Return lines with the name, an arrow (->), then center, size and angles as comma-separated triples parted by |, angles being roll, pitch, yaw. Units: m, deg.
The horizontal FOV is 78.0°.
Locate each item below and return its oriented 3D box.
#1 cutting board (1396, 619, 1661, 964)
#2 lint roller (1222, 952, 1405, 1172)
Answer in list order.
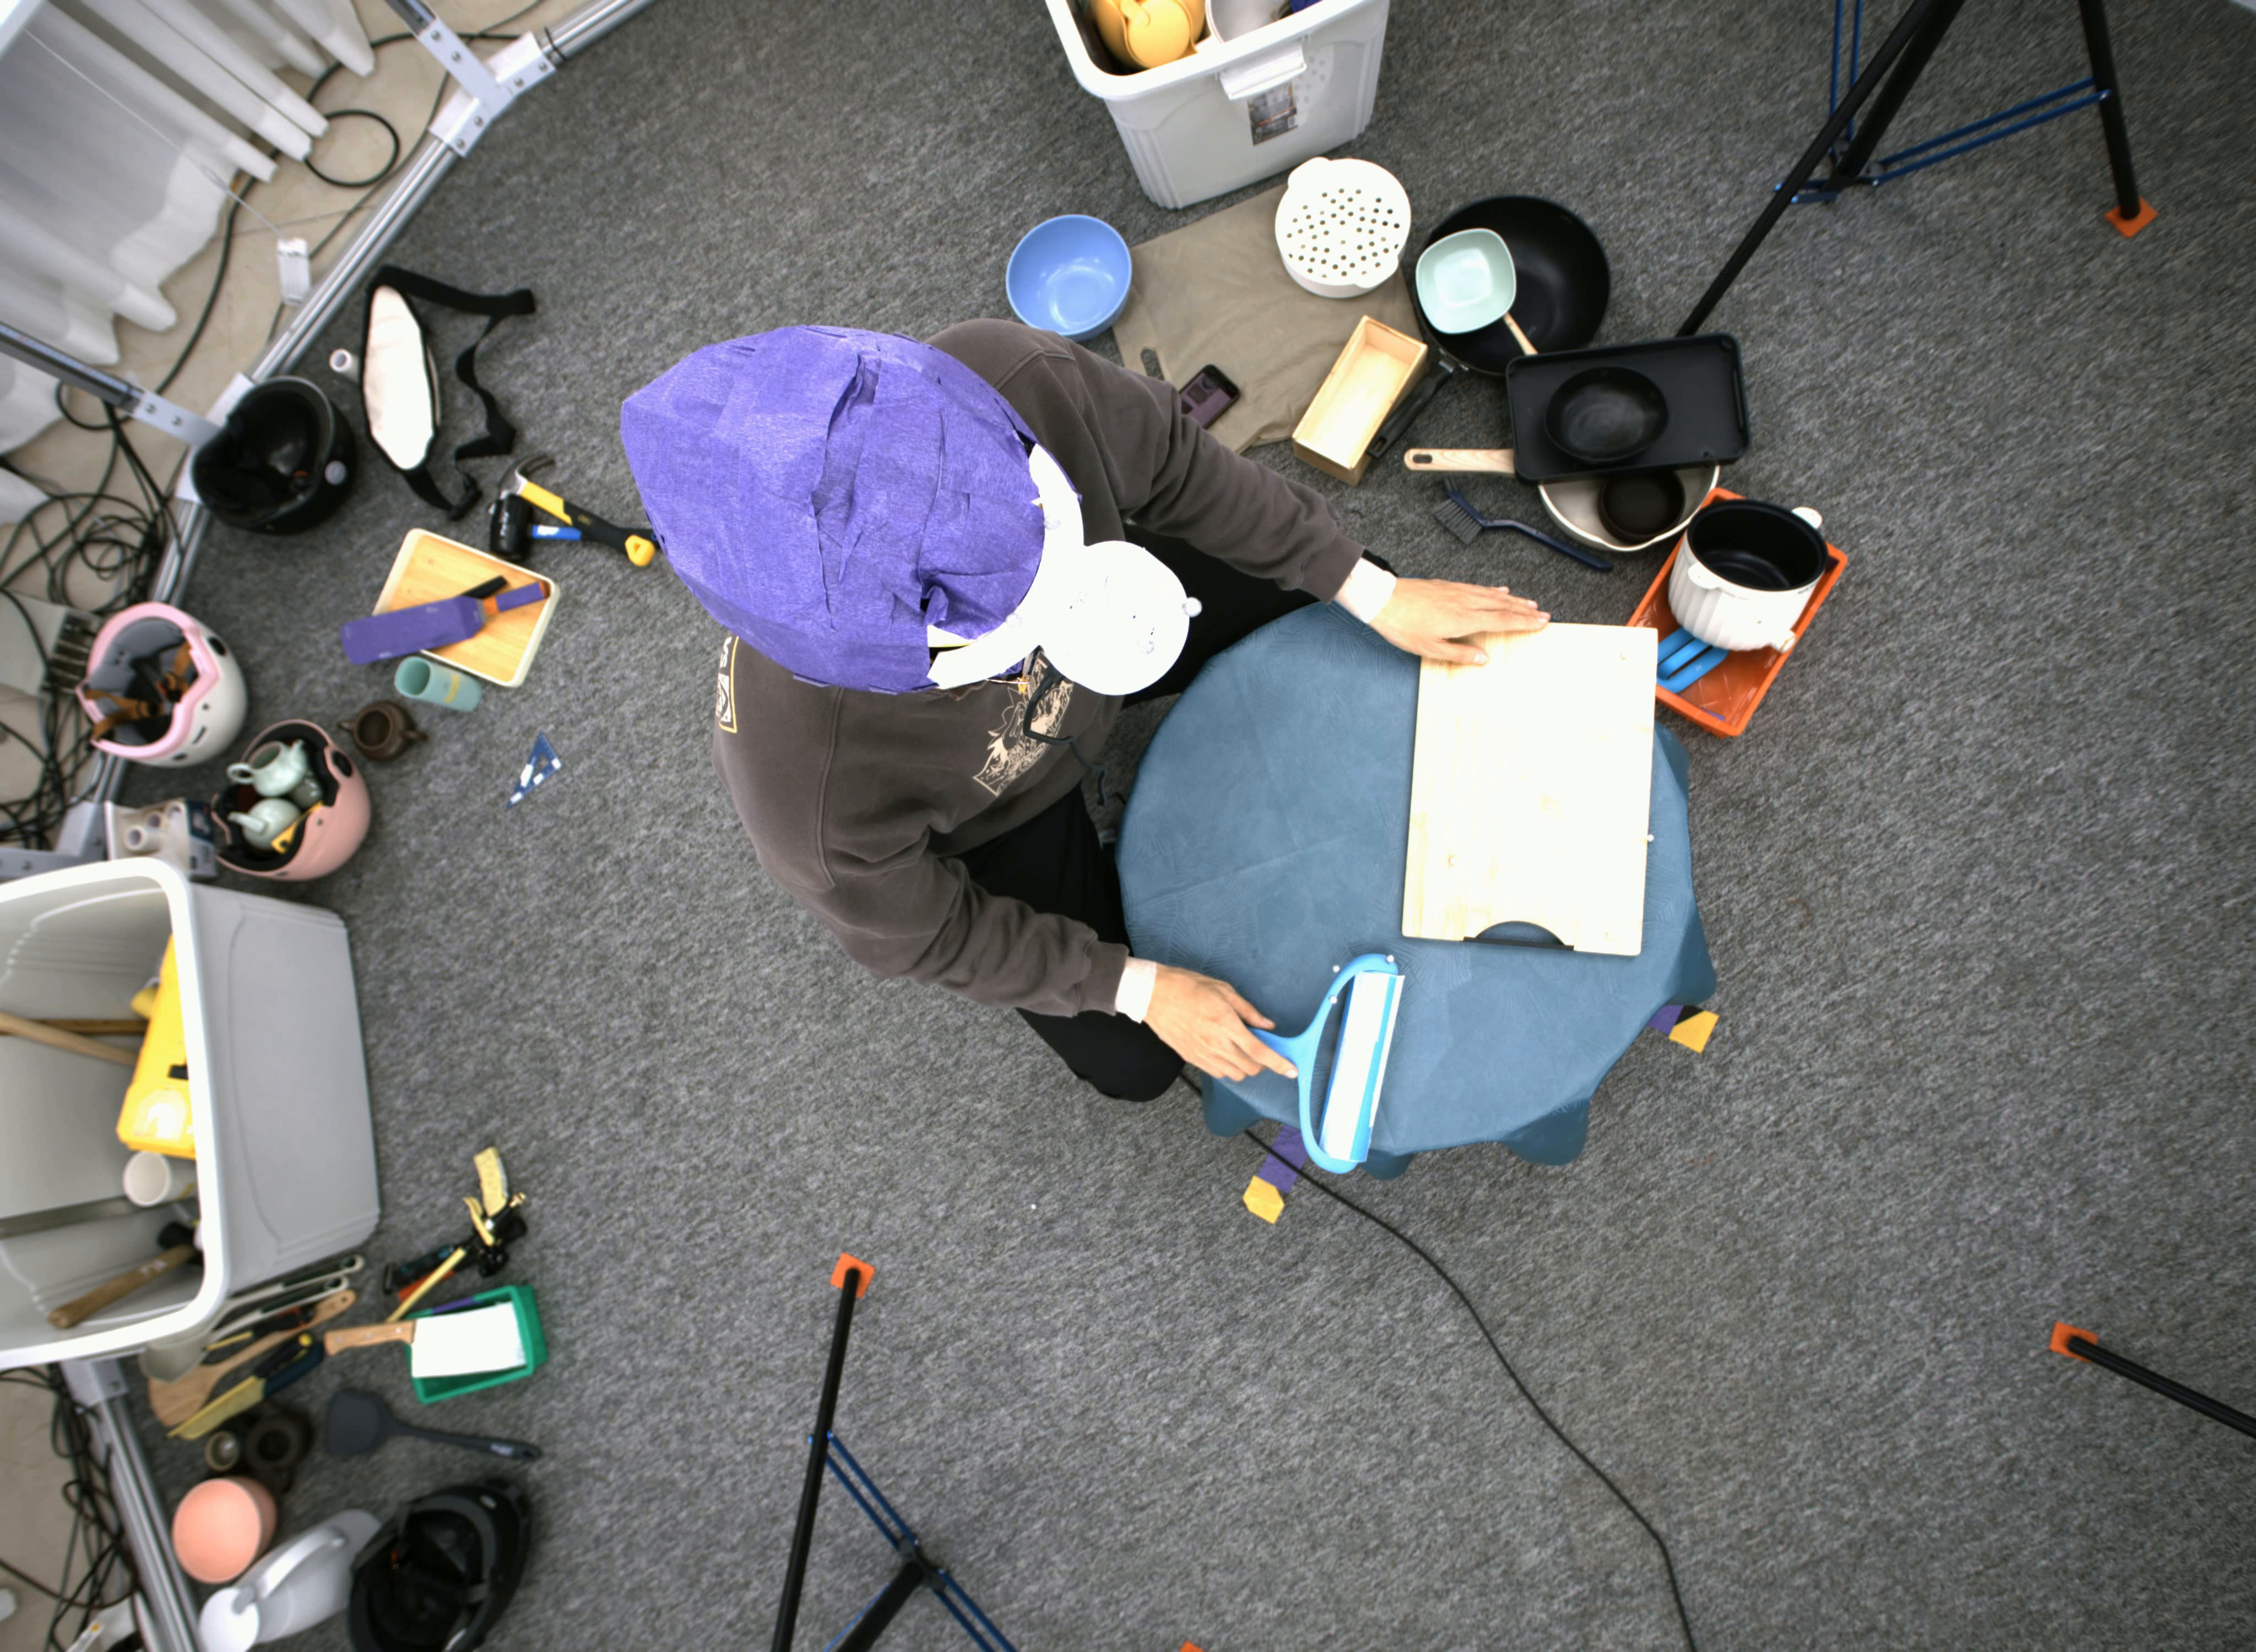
cutting board -> 0.416, -0.042, 1.428 | 0.251, 0.023, 0.347 | 4, 88, 11
lint roller -> 0.183, 0.233, 1.437 | 0.180, 0.068, 0.228 | 8, 90, 10
